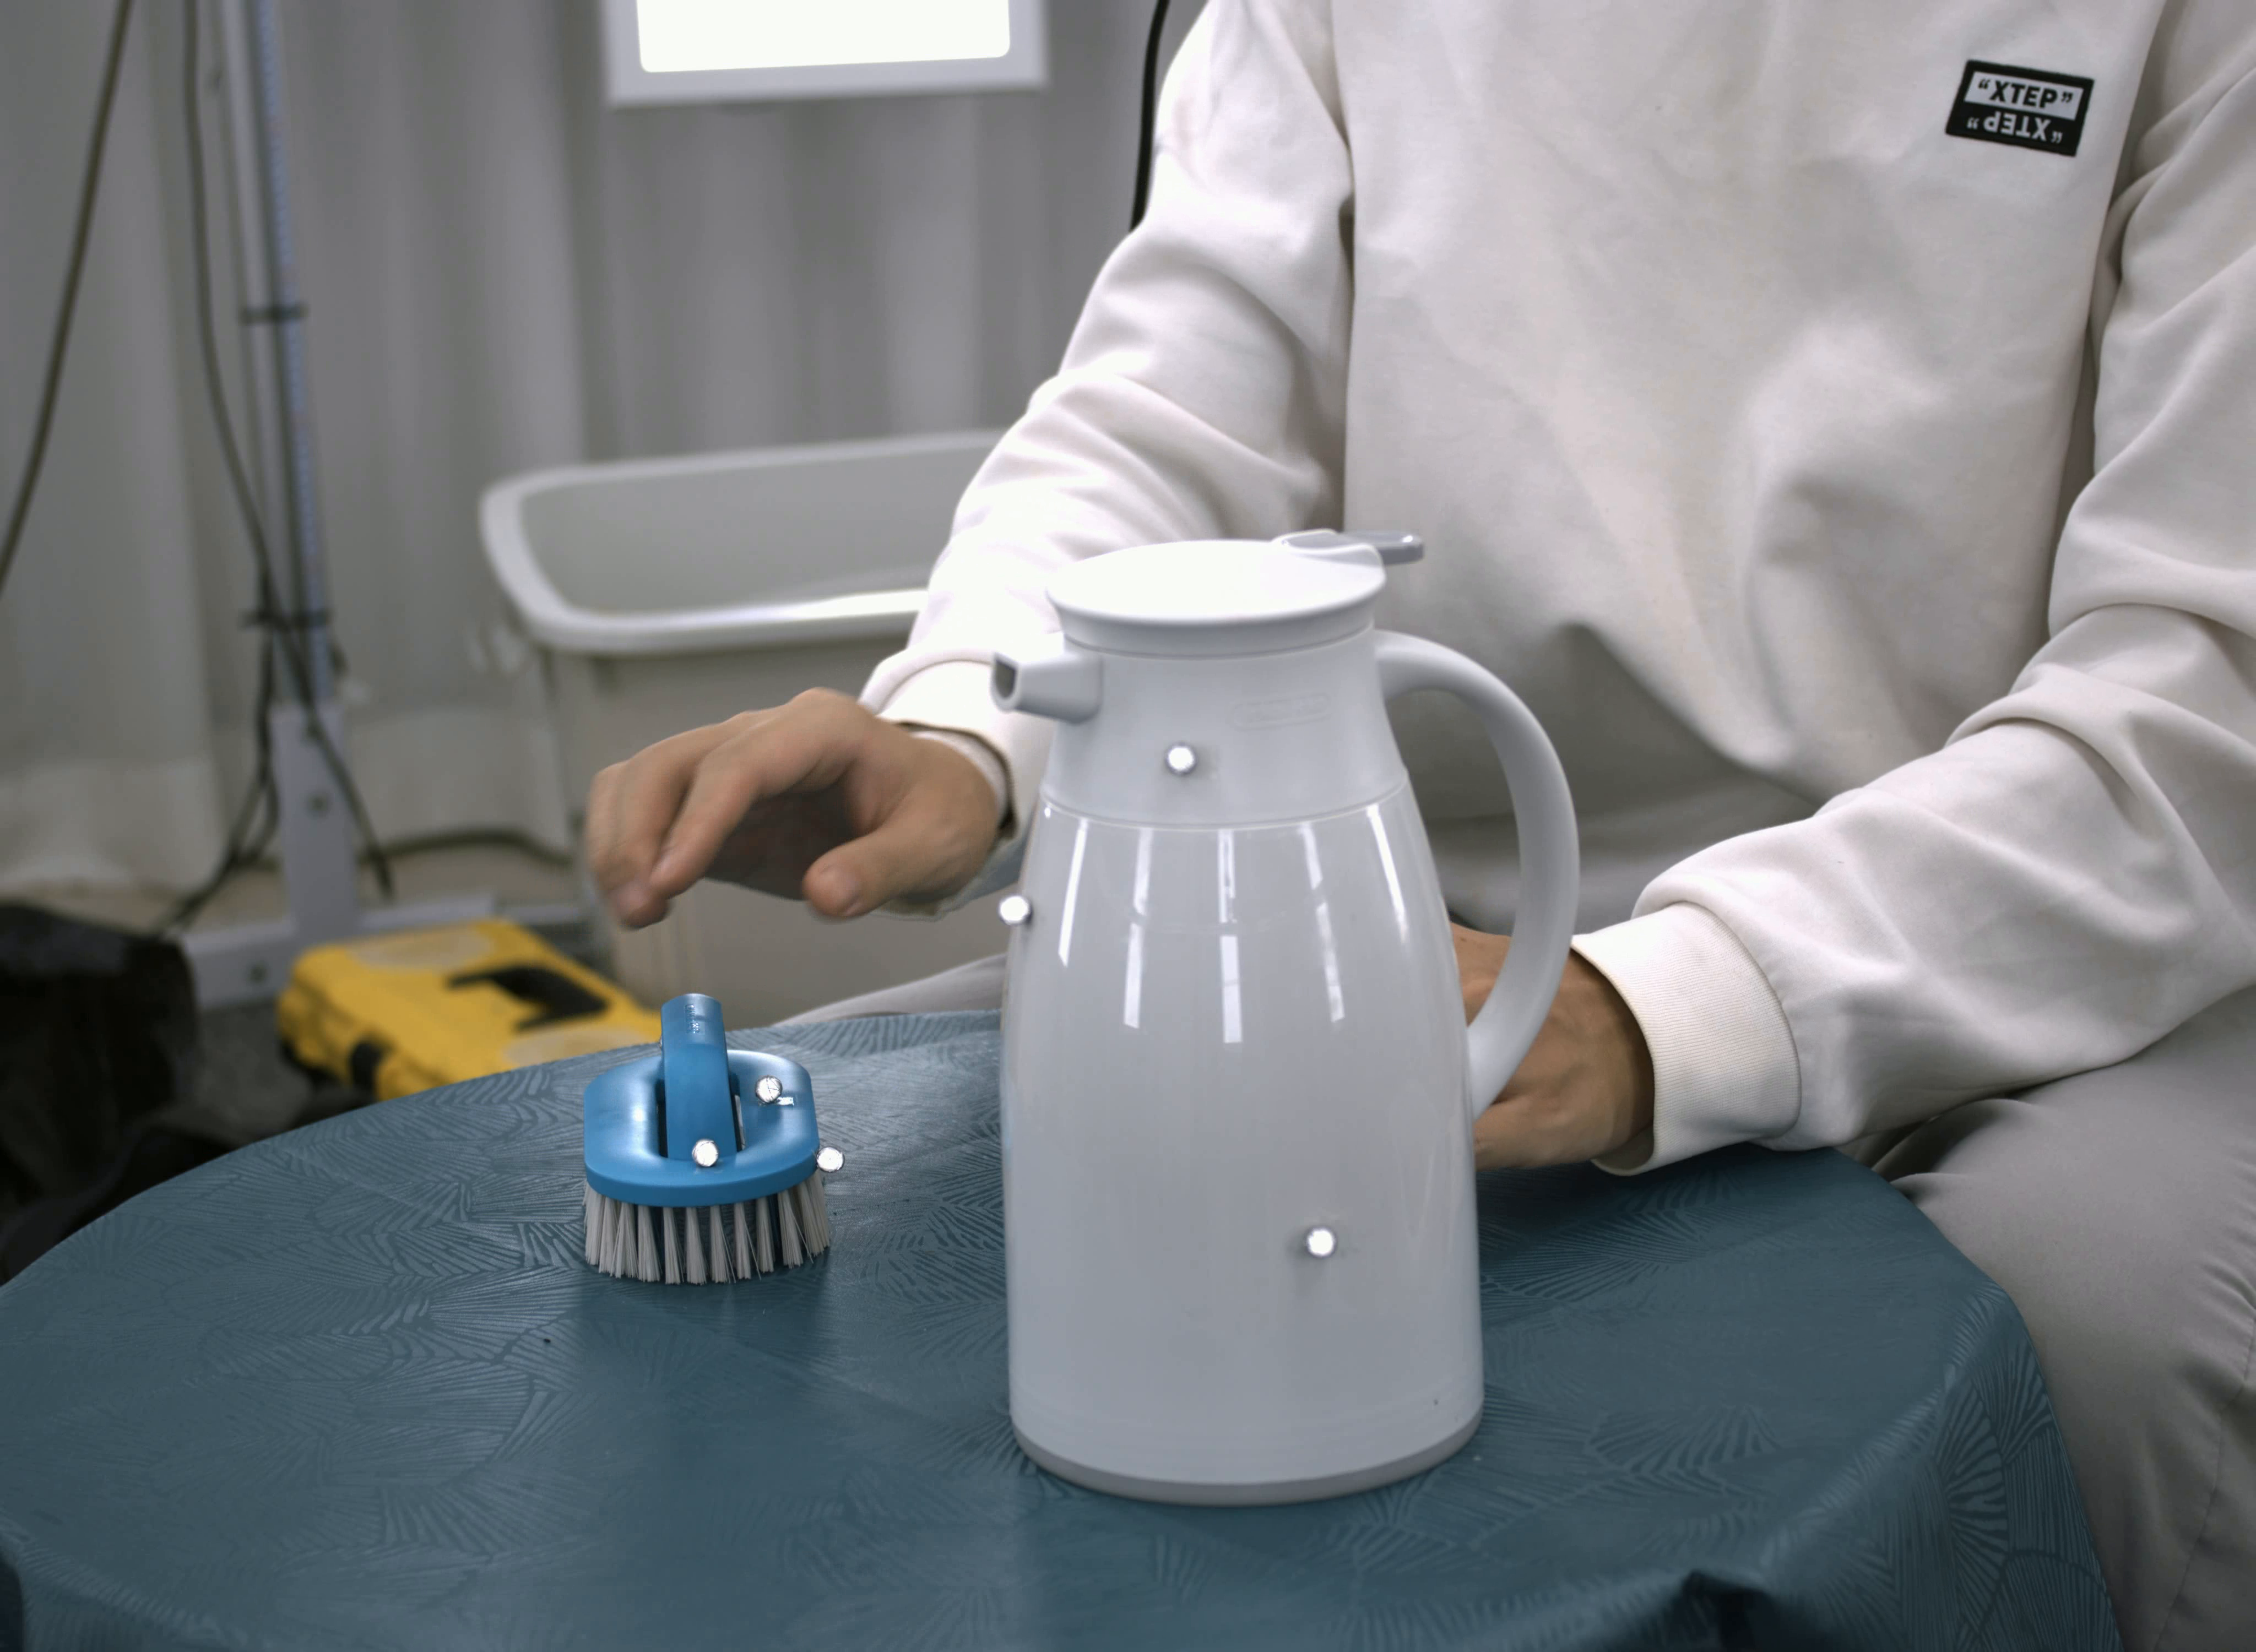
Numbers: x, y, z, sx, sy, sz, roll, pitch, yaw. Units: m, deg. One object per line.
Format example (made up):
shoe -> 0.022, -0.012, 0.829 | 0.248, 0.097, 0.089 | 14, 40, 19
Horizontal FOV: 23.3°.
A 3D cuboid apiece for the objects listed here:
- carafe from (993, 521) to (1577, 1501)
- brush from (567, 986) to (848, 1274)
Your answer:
carafe -> 0.045, 0.041, 1.501 | 0.167, 0.248, 0.133 | -8, 15, -23
brush -> -0.133, 0.089, 1.711 | 0.084, 0.063, 0.143 | -8, 14, -2
